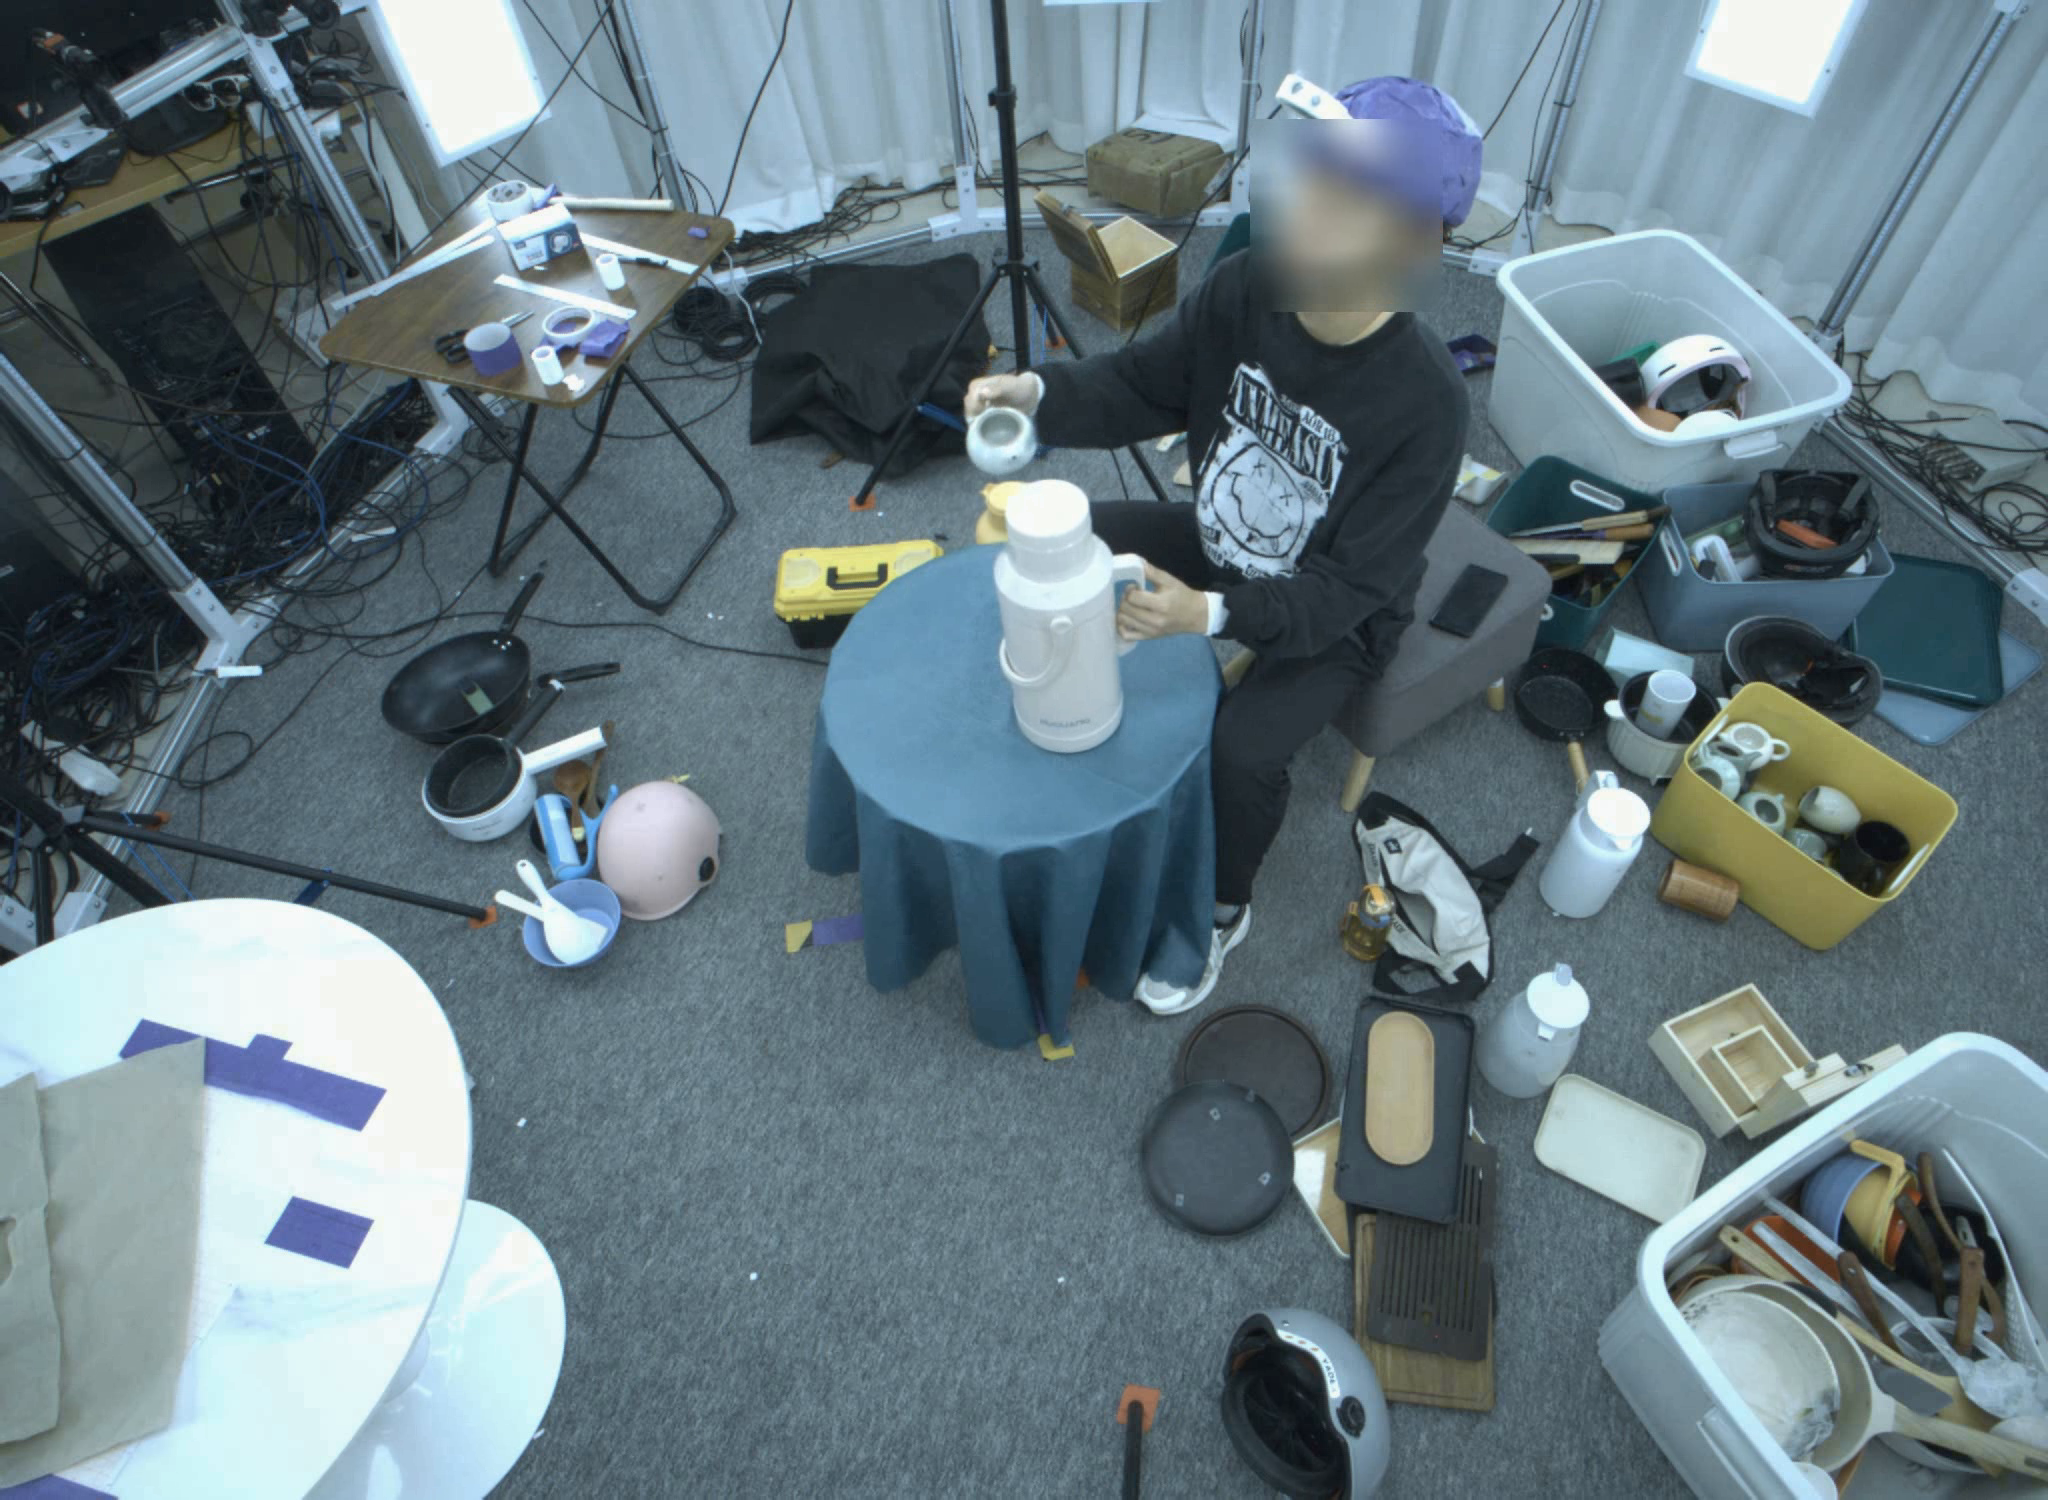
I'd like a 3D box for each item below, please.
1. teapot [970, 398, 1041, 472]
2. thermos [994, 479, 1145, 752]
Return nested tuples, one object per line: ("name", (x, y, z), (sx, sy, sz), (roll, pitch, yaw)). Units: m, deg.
("teapot", (-0.030, -0.411, 1.573), (0.092, 0.060, 0.126), (-25, 68, -4))
("thermos", (0.062, -0.179, 1.660), (0.207, 0.411, 0.173), (-9, 52, 0))
